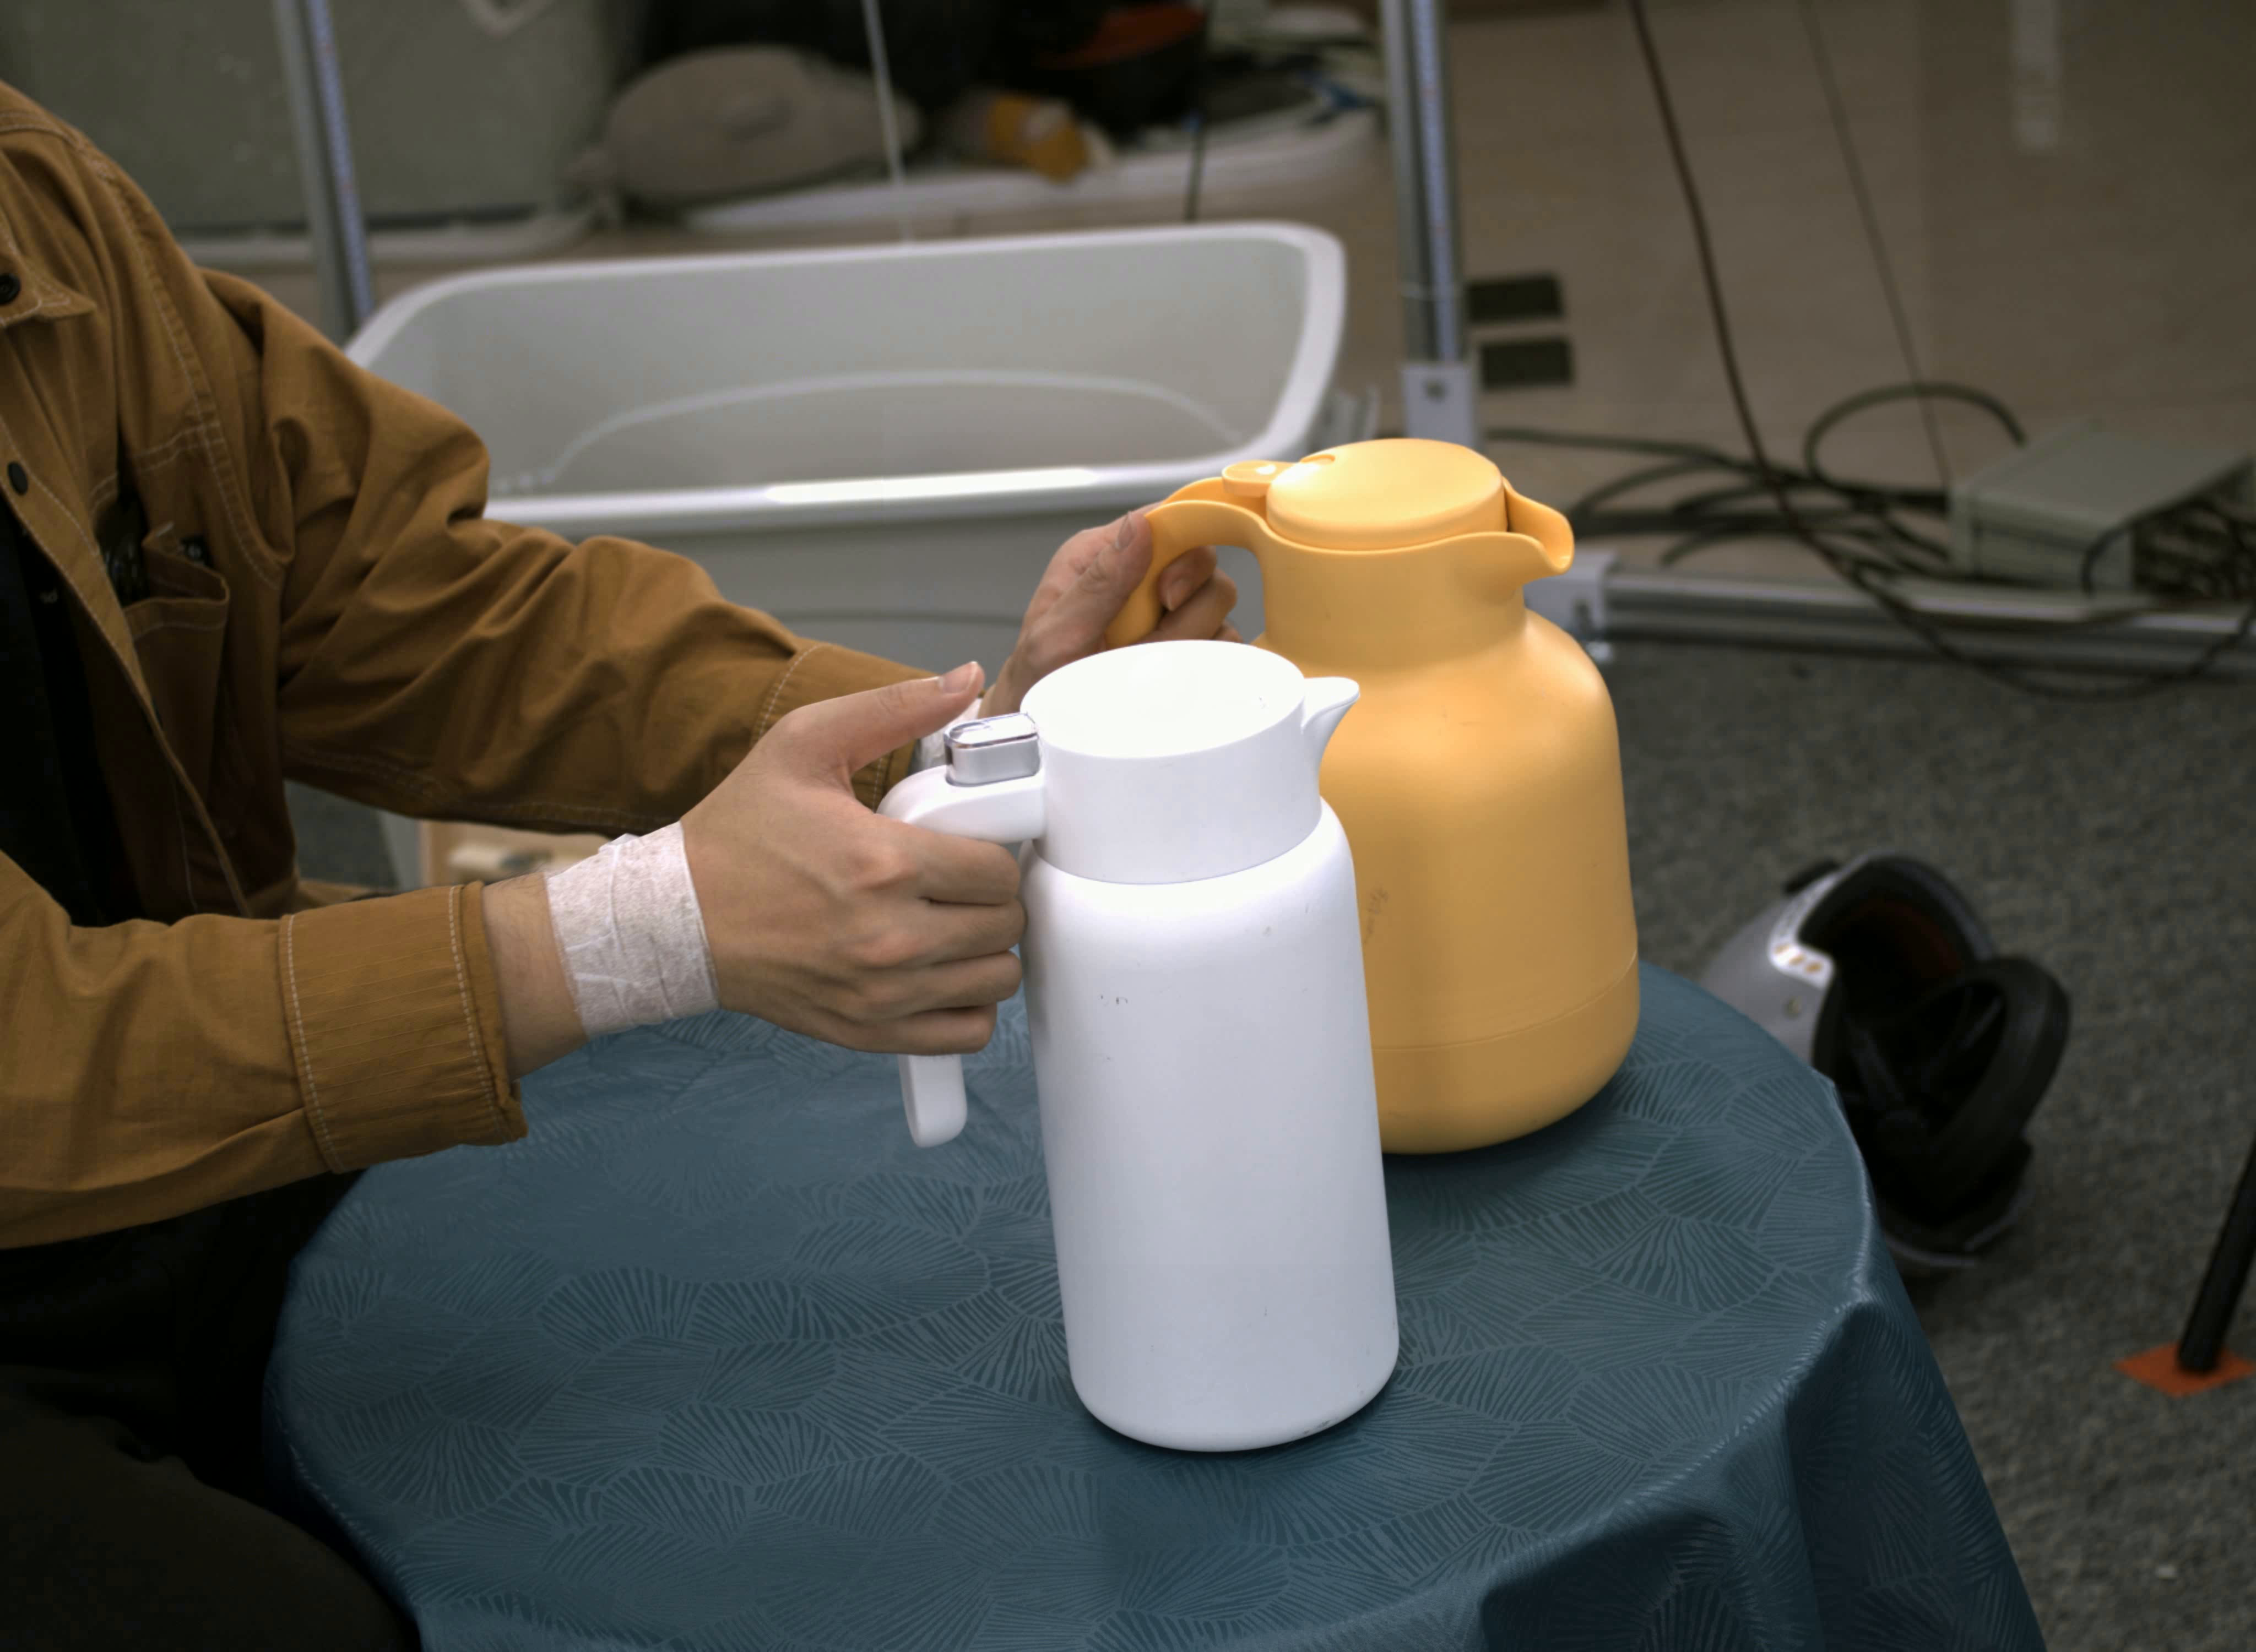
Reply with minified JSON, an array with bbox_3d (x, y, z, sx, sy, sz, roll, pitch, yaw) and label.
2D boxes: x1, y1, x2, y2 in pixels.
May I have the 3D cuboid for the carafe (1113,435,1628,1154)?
[{"bbox_3d":[0.090,-0.020,2.152,0.201,0.264,0.162,12,28,30],"label":"carafe"}]

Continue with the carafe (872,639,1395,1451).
[{"bbox_3d":[0.008,0.079,1.954,0.172,0.273,0.122,-11,28,-10],"label":"carafe"}]
